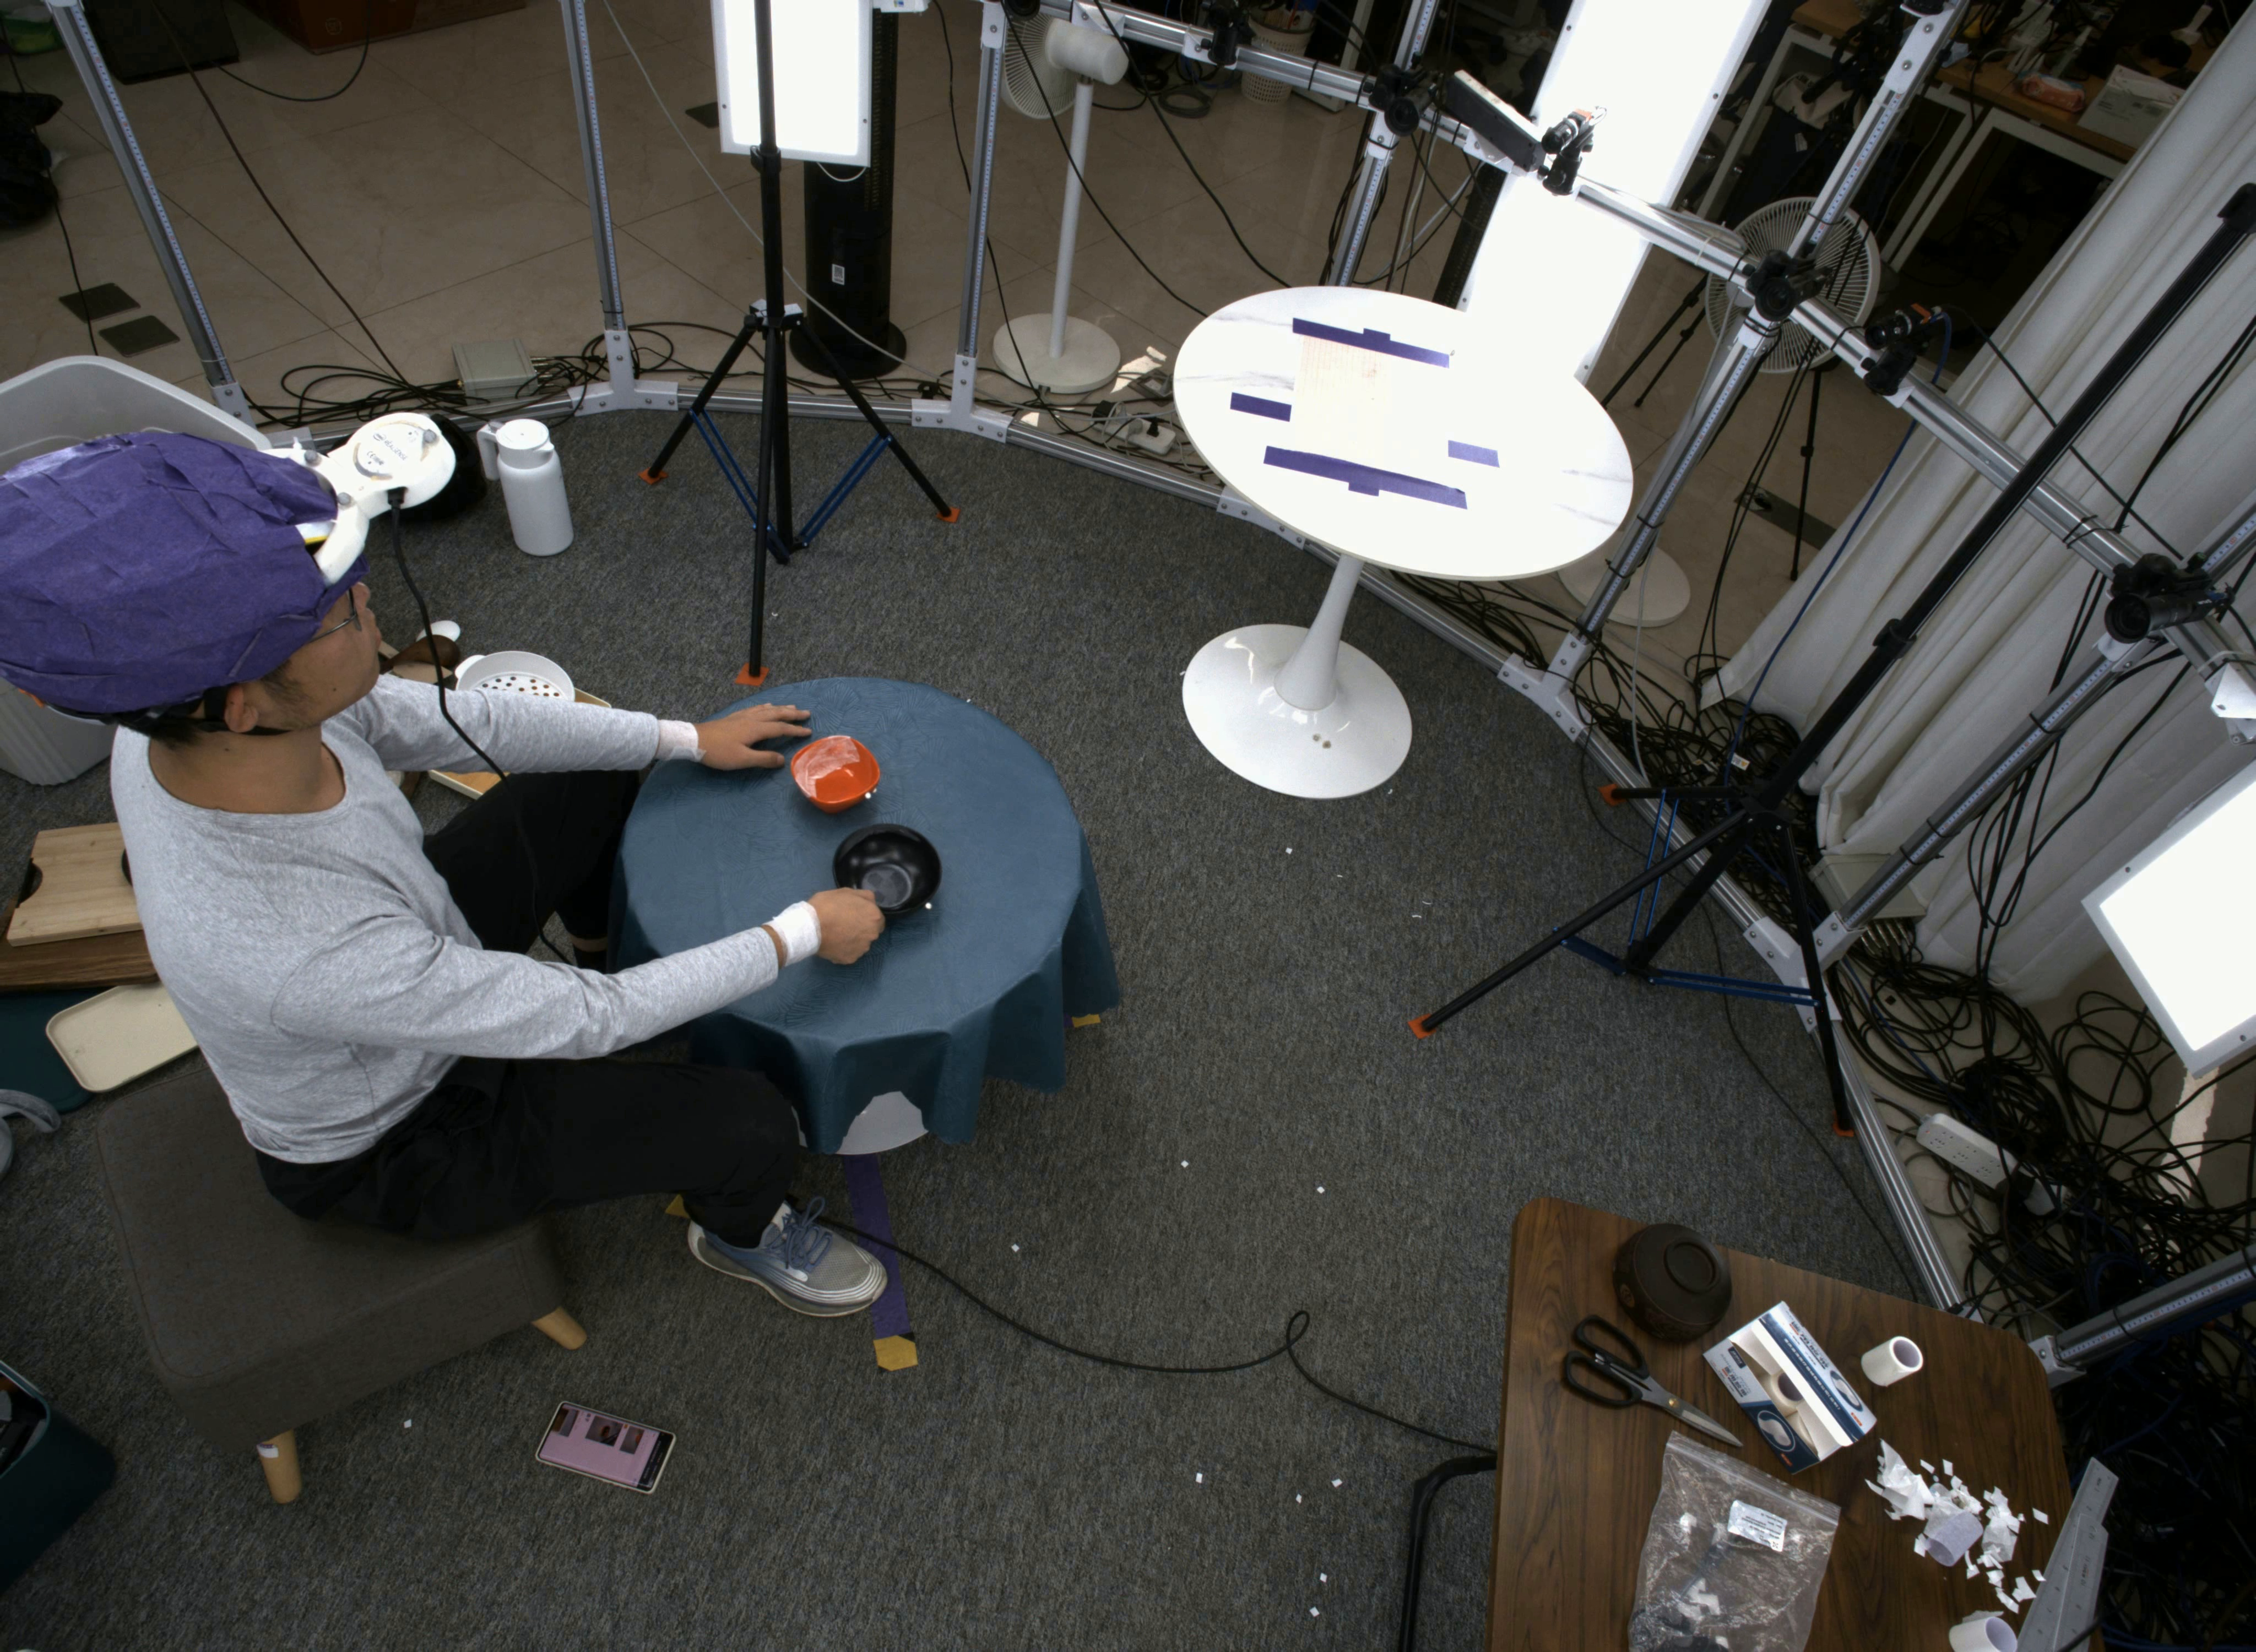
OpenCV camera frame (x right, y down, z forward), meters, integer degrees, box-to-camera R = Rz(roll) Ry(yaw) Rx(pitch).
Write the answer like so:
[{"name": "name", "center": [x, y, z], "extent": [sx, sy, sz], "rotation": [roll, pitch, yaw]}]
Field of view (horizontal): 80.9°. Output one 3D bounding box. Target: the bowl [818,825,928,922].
[{"name": "bowl", "center": [-0.329, 0.068, 1.675], "extent": [0.140, 0.050, 0.138], "rotation": [8, 55, -10]}]

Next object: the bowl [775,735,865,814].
[{"name": "bowl", "center": [-0.415, -0.062, 1.748], "extent": [0.119, 0.052, 0.117], "rotation": [9, 52, -10]}]
